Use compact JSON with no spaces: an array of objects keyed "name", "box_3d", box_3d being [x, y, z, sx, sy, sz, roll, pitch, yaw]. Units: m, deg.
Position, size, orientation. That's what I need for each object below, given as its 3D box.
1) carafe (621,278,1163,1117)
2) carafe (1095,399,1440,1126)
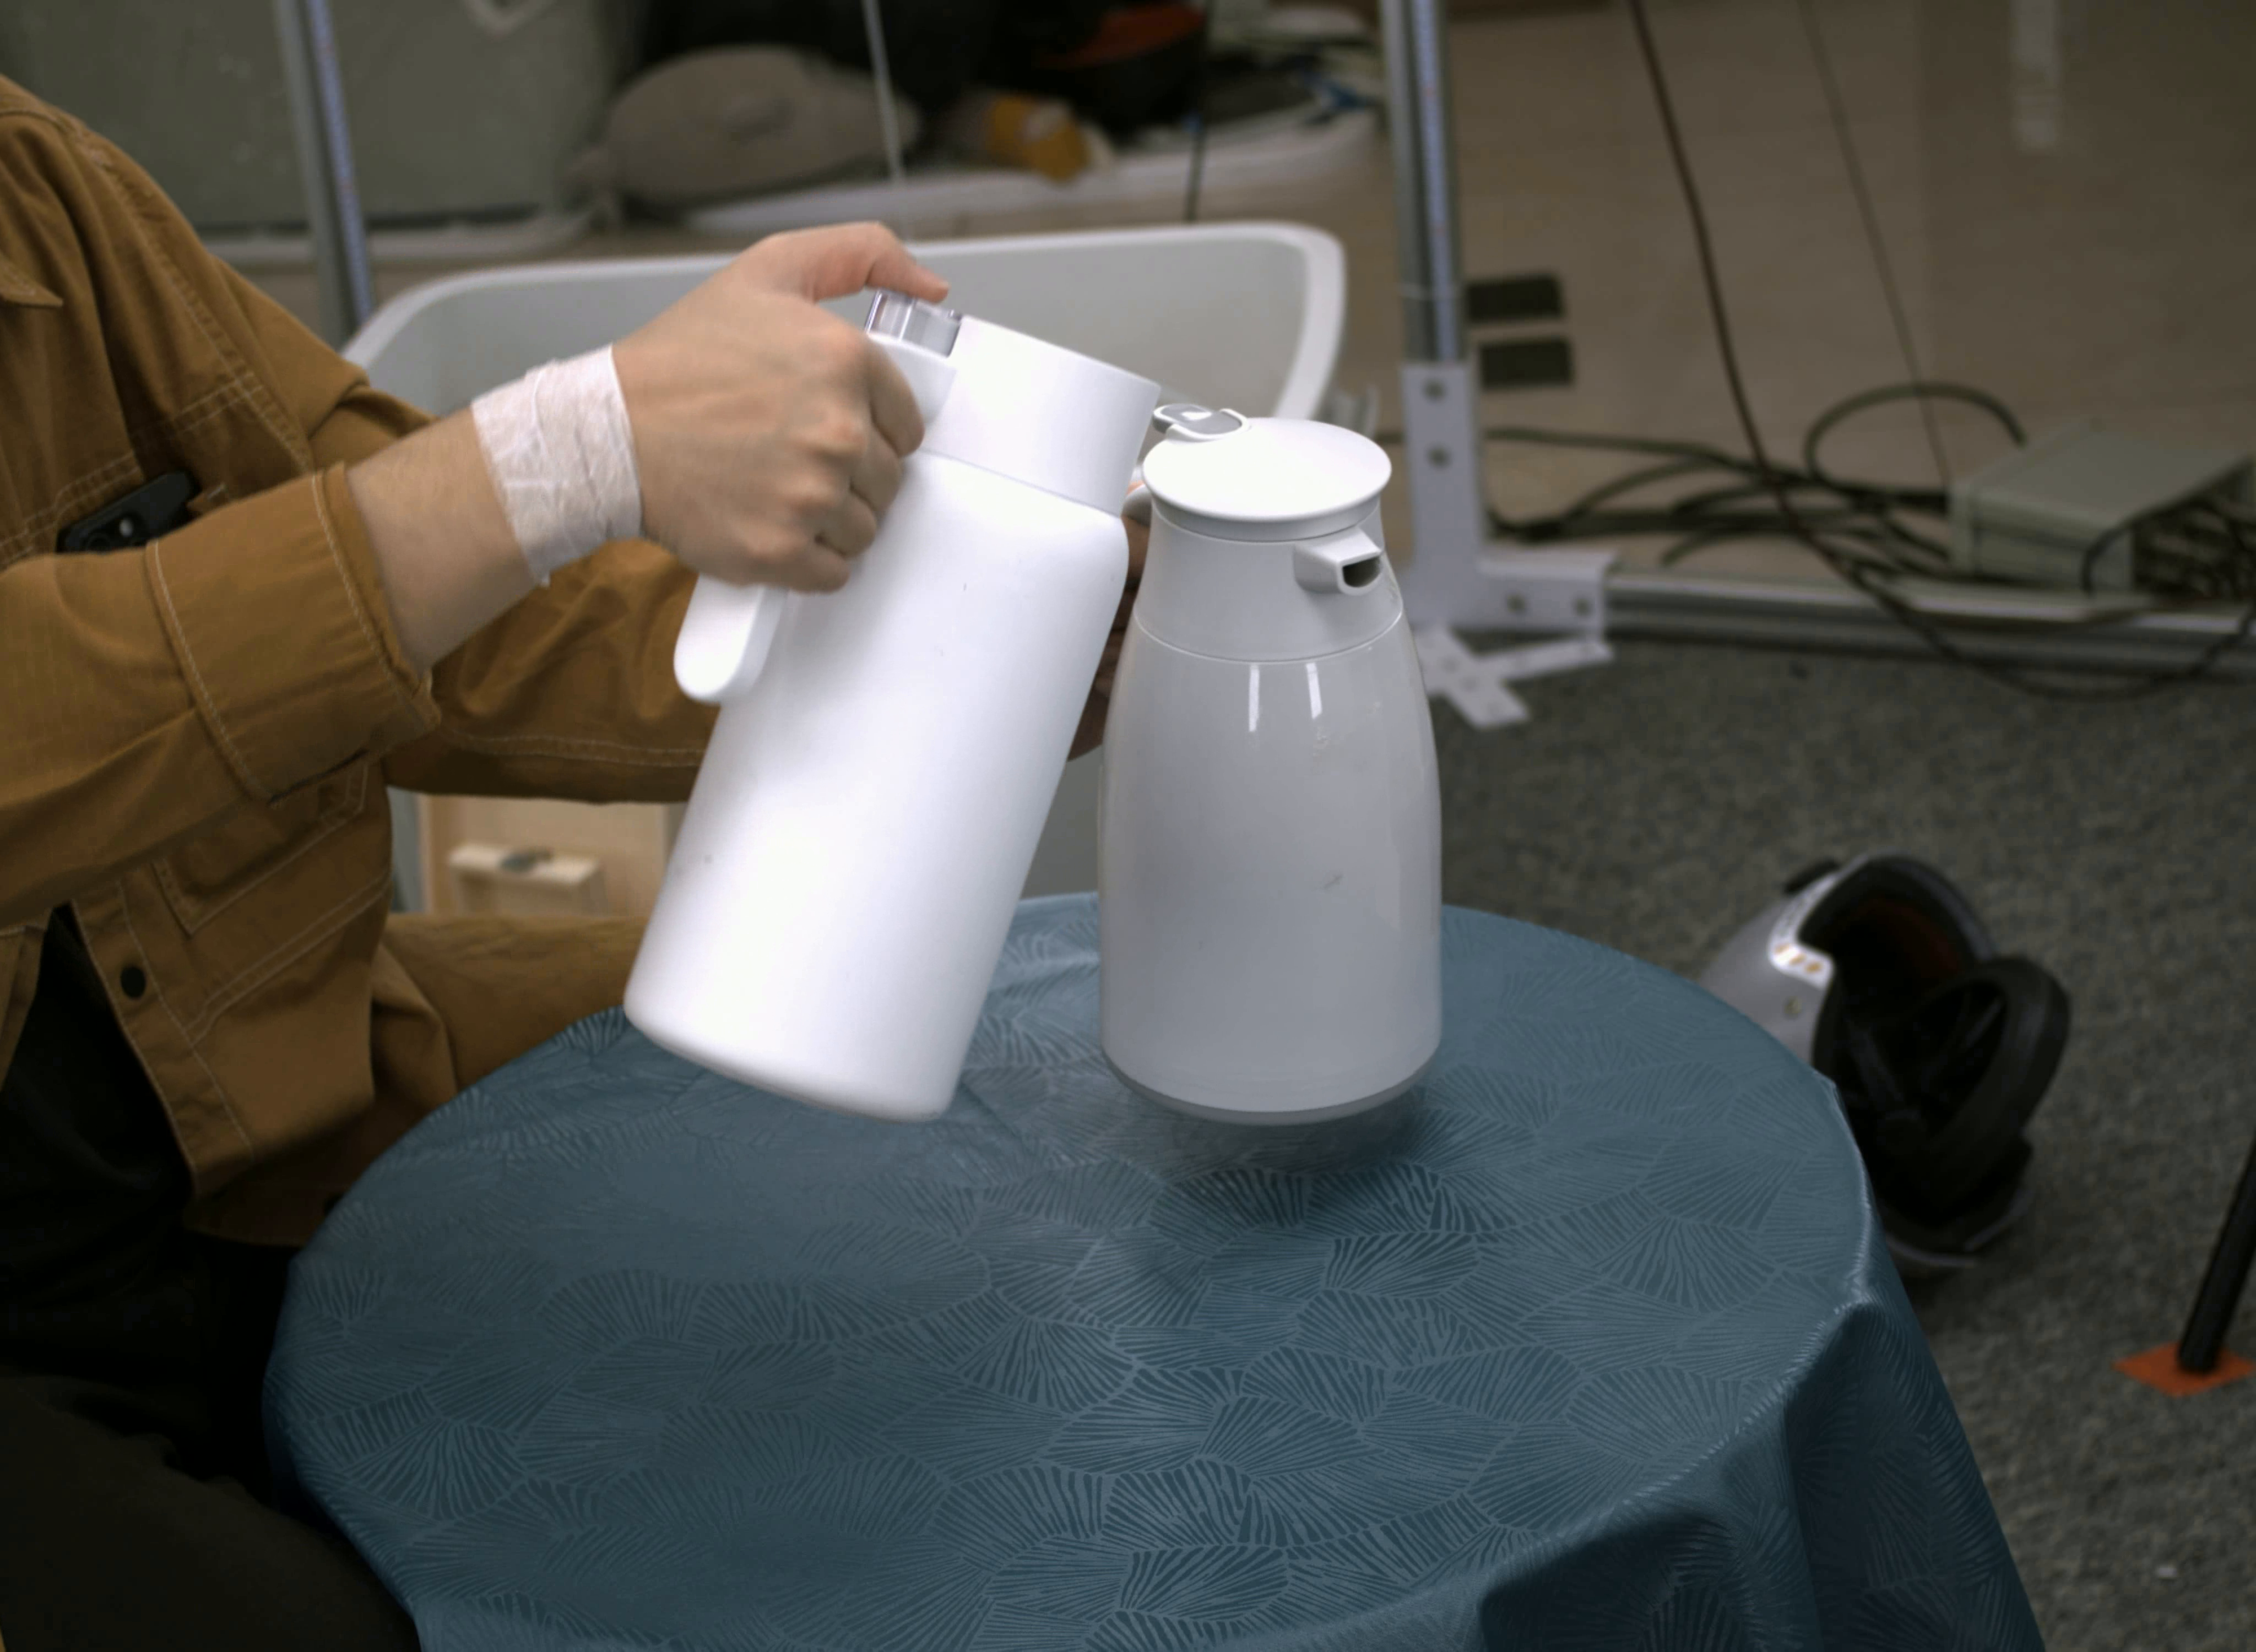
[{"name":"carafe","box_3d":[-0.086,-0.045,1.908,0.123,0.270,0.173,24,5,35]},{"name":"carafe","box_3d":[0.041,-0.034,2.127,0.132,0.253,0.166,-18,32,-28]}]
